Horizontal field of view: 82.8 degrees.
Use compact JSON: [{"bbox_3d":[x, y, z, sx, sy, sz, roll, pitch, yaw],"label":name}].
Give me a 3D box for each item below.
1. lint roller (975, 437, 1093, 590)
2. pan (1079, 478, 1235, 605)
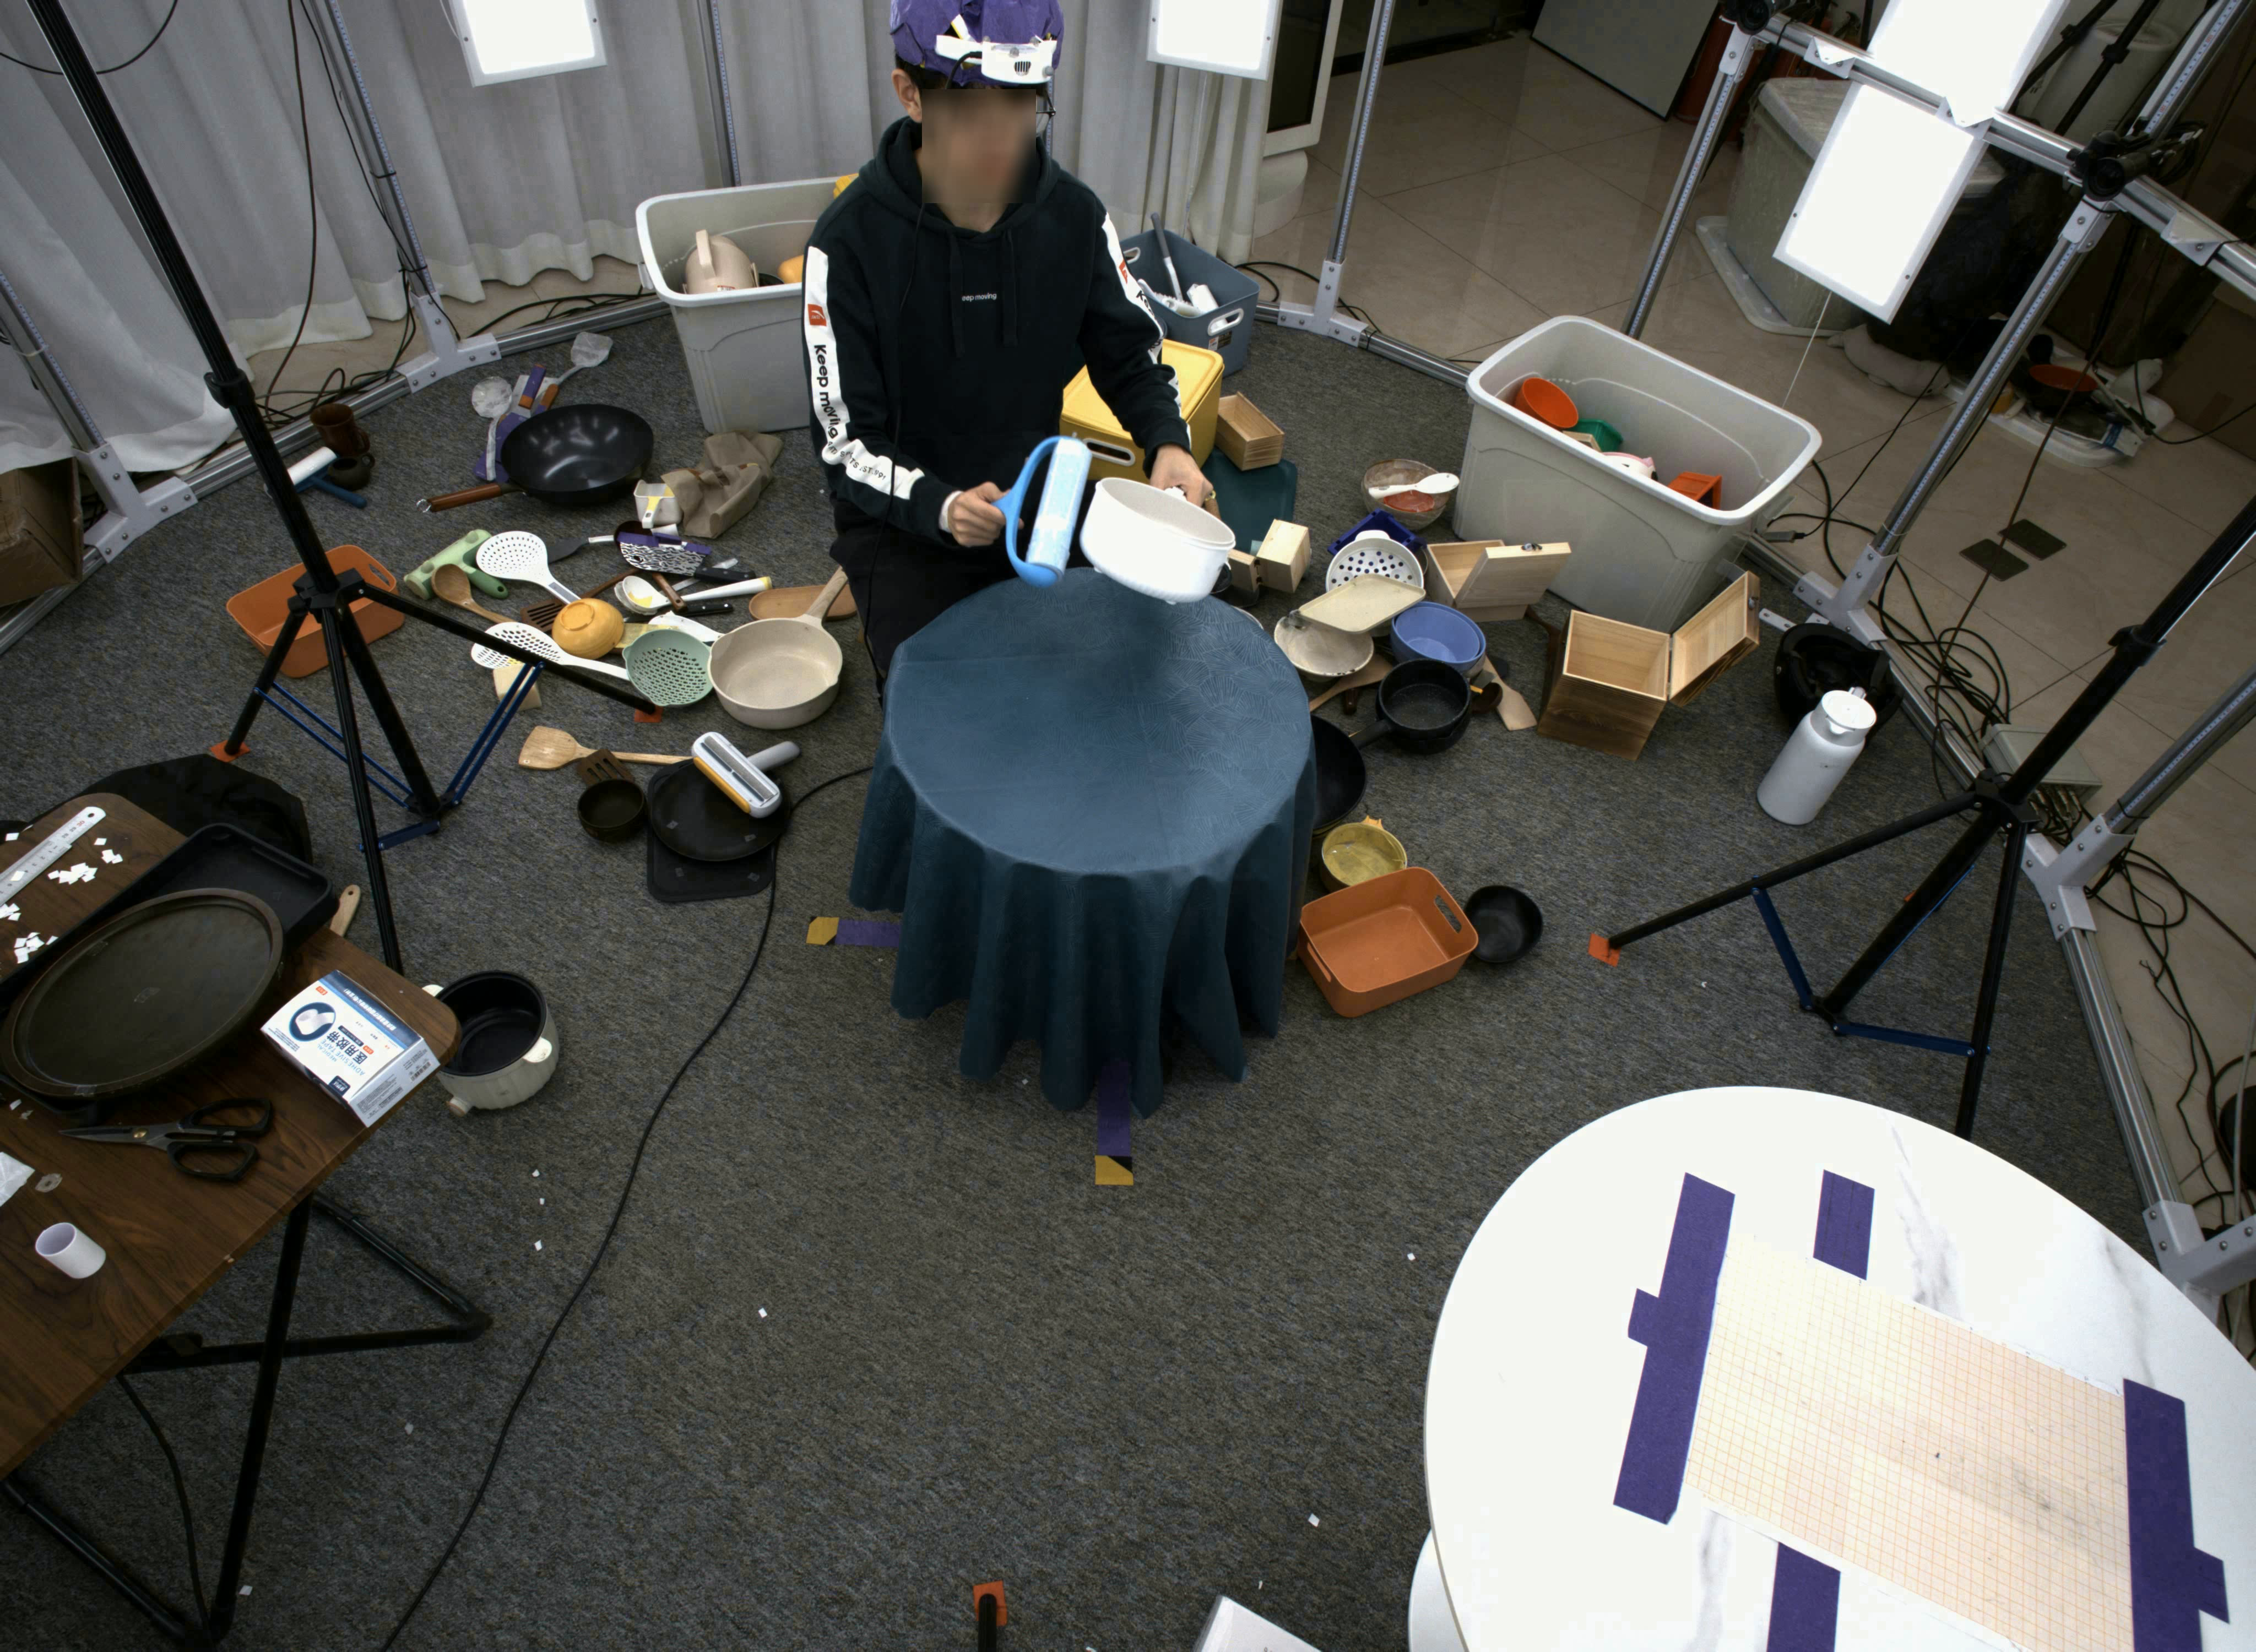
[{"bbox_3d":[-0.144,-0.417,1.749,0.180,0.066,0.233,-2,66,26],"label":"lint roller"},{"bbox_3d":[0.045,-0.409,1.799,0.201,0.100,0.360,23,25,-2],"label":"pan"}]
